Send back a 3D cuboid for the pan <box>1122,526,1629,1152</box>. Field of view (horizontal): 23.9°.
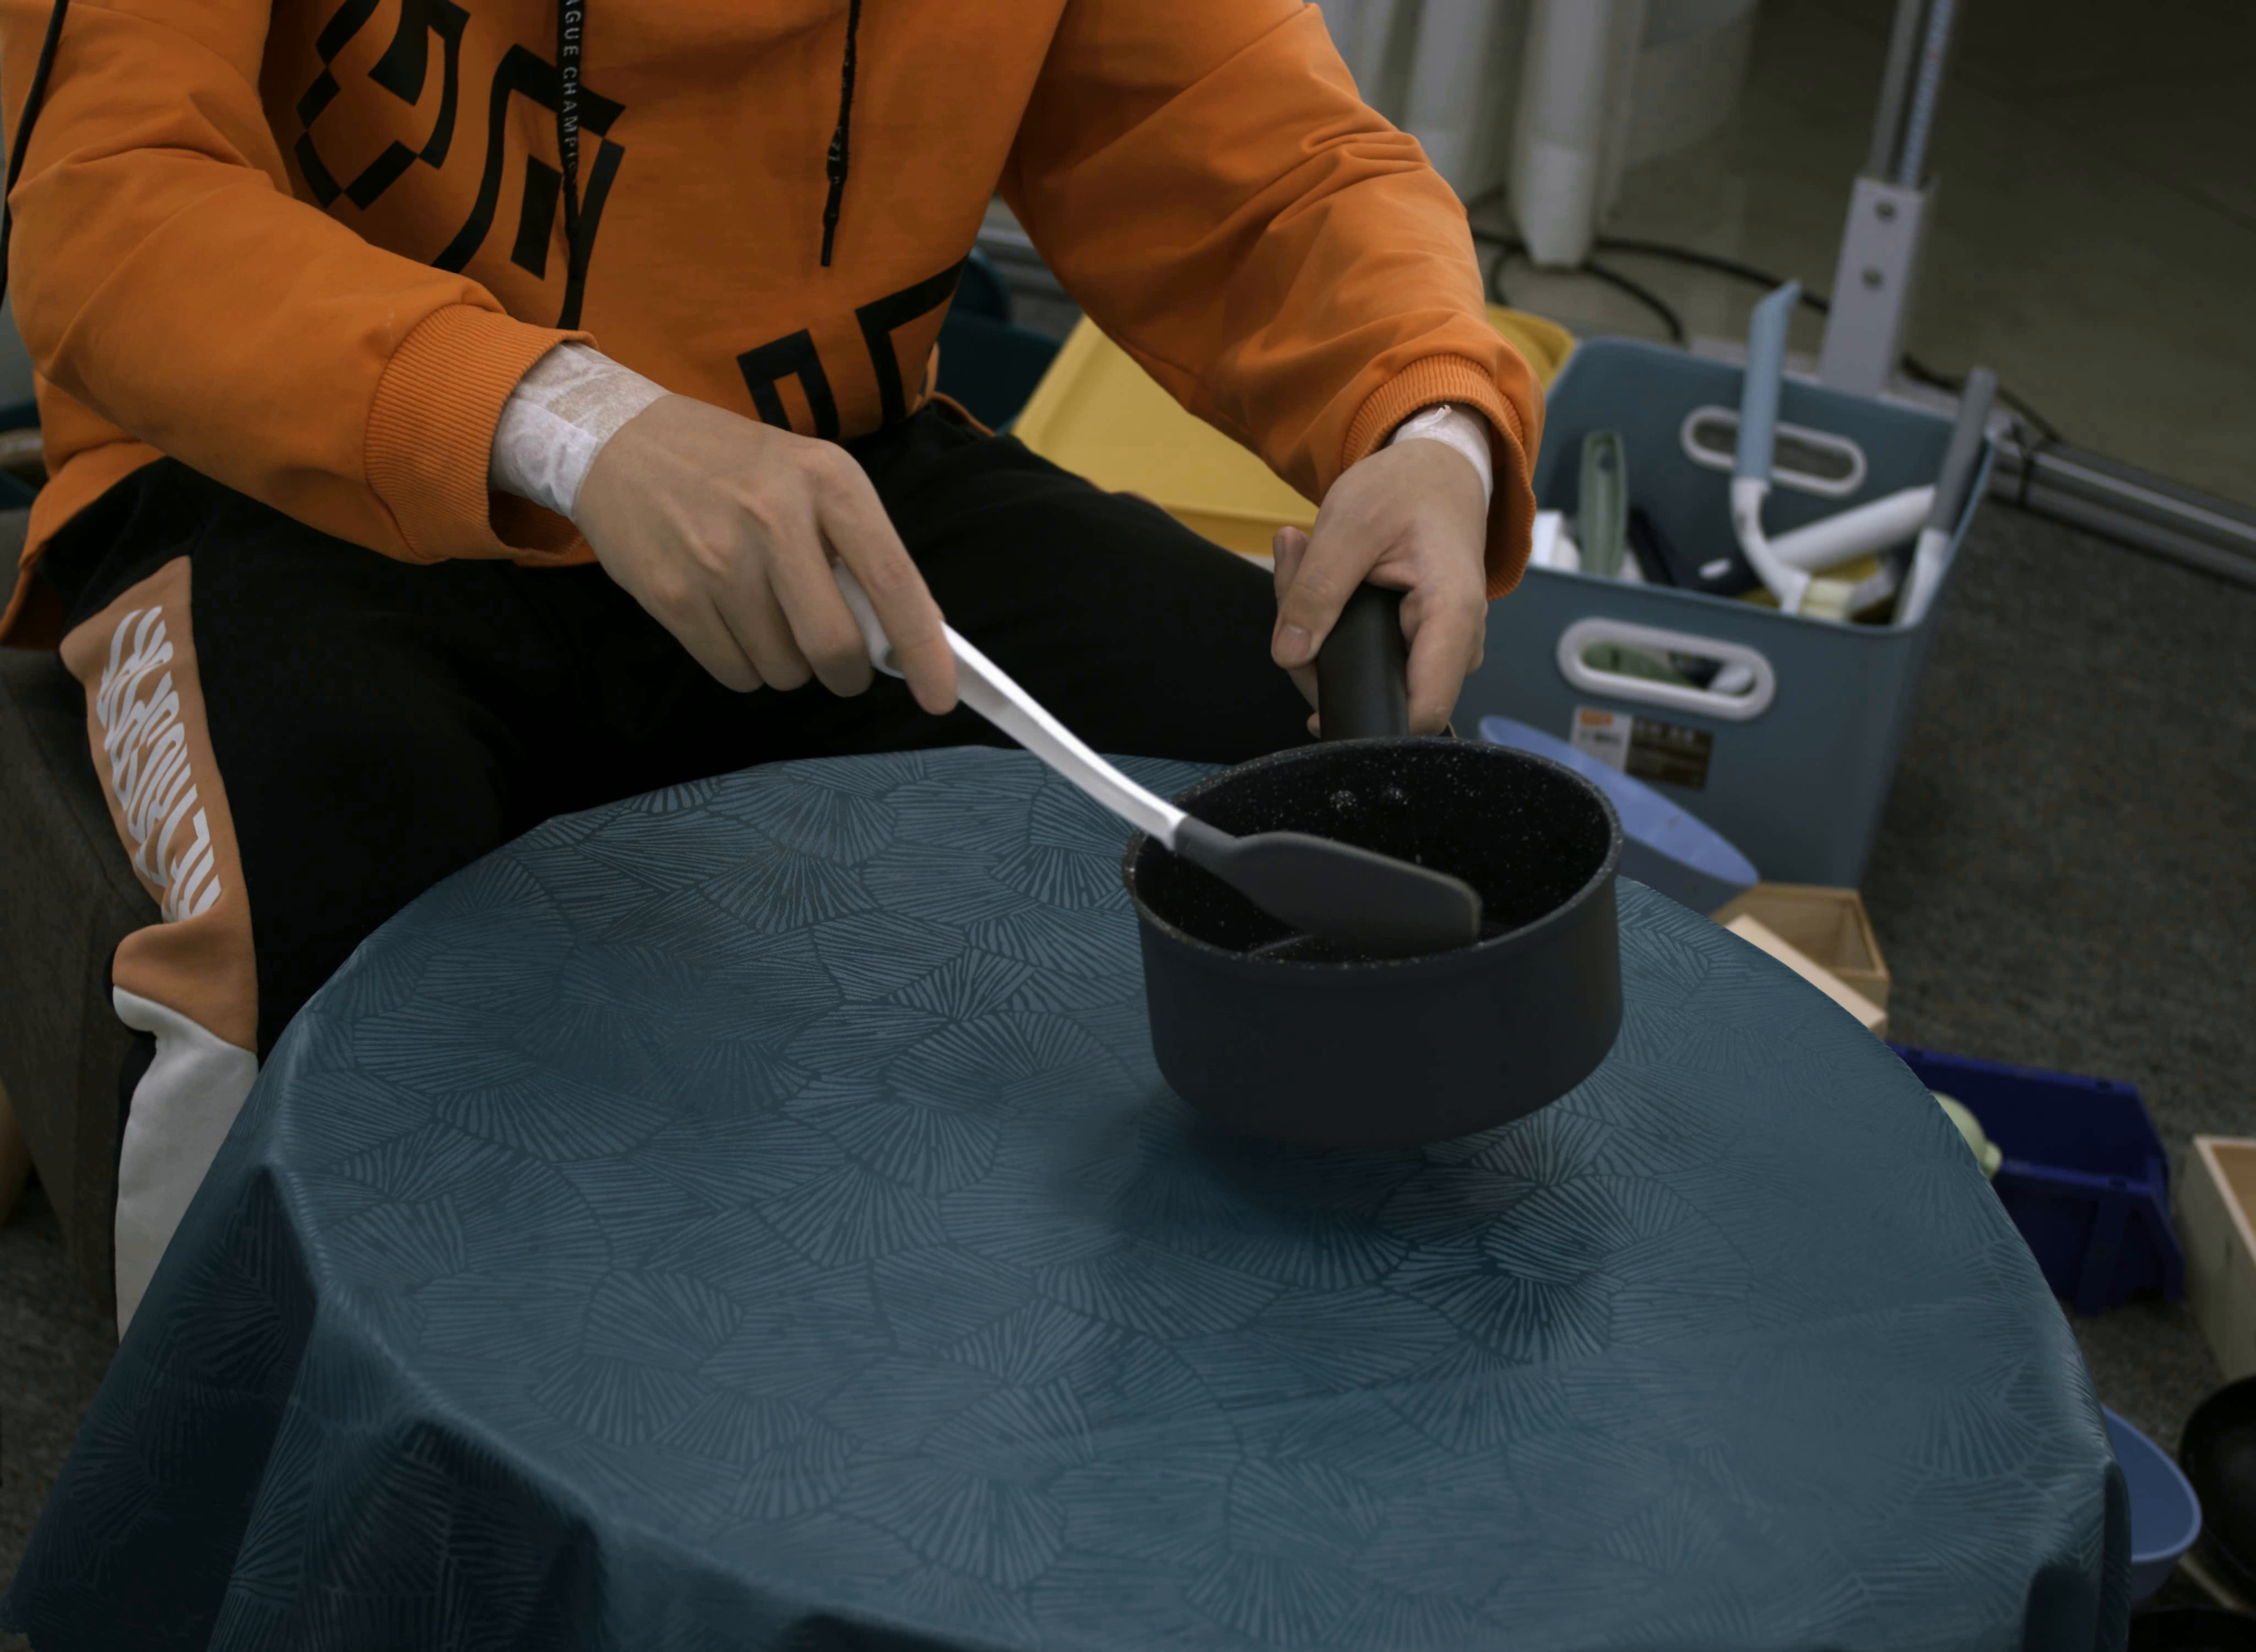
[{"bbox_3d":[0.090,0.001,1.889,0.172,0.086,0.330,-3,28,5],"label":"pan"}]

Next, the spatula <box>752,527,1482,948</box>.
[{"bbox_3d":[-0.006,-0.022,1.795,0.289,0.058,0.032,30,55,21],"label":"spatula"}]
